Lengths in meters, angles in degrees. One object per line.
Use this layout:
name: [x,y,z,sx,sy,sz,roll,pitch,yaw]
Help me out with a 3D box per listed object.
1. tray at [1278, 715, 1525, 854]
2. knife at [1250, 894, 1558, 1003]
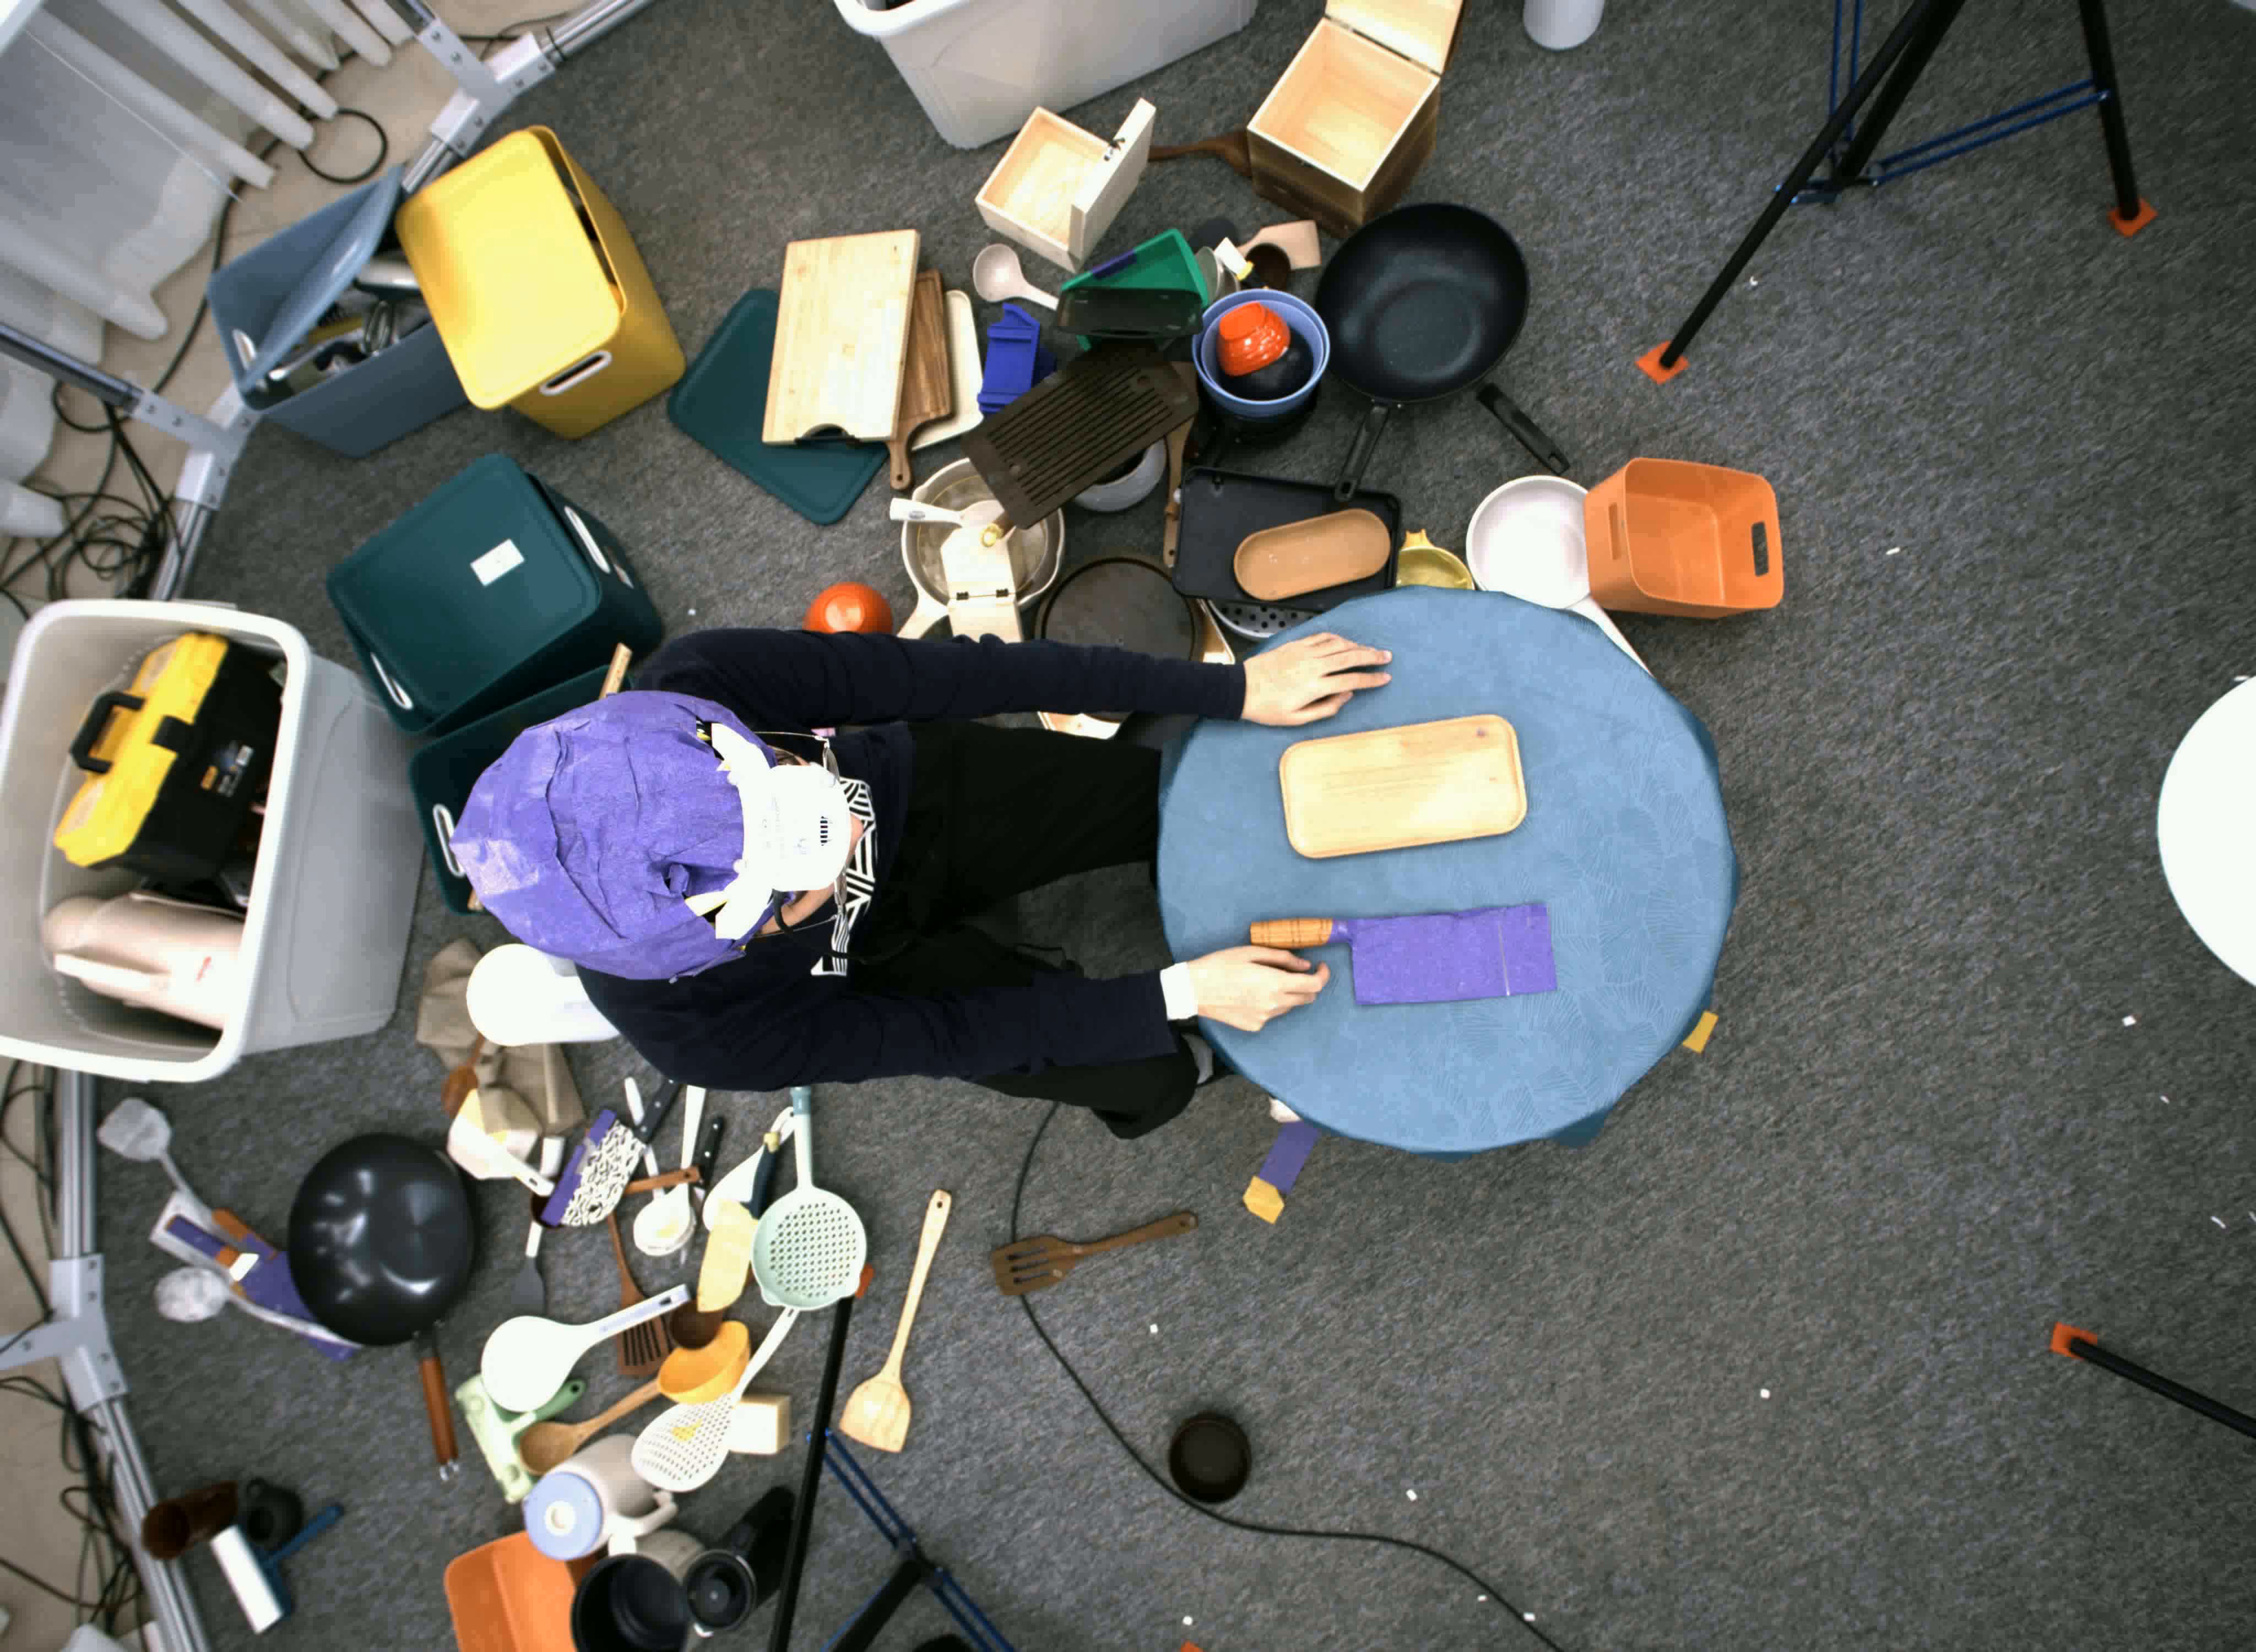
tray: [0.287,-0.044,1.455,0.252,0.023,0.129,-6,83,11]
knife: [0.287,0.134,1.440,0.317,0.032,0.103,-6,85,10]
